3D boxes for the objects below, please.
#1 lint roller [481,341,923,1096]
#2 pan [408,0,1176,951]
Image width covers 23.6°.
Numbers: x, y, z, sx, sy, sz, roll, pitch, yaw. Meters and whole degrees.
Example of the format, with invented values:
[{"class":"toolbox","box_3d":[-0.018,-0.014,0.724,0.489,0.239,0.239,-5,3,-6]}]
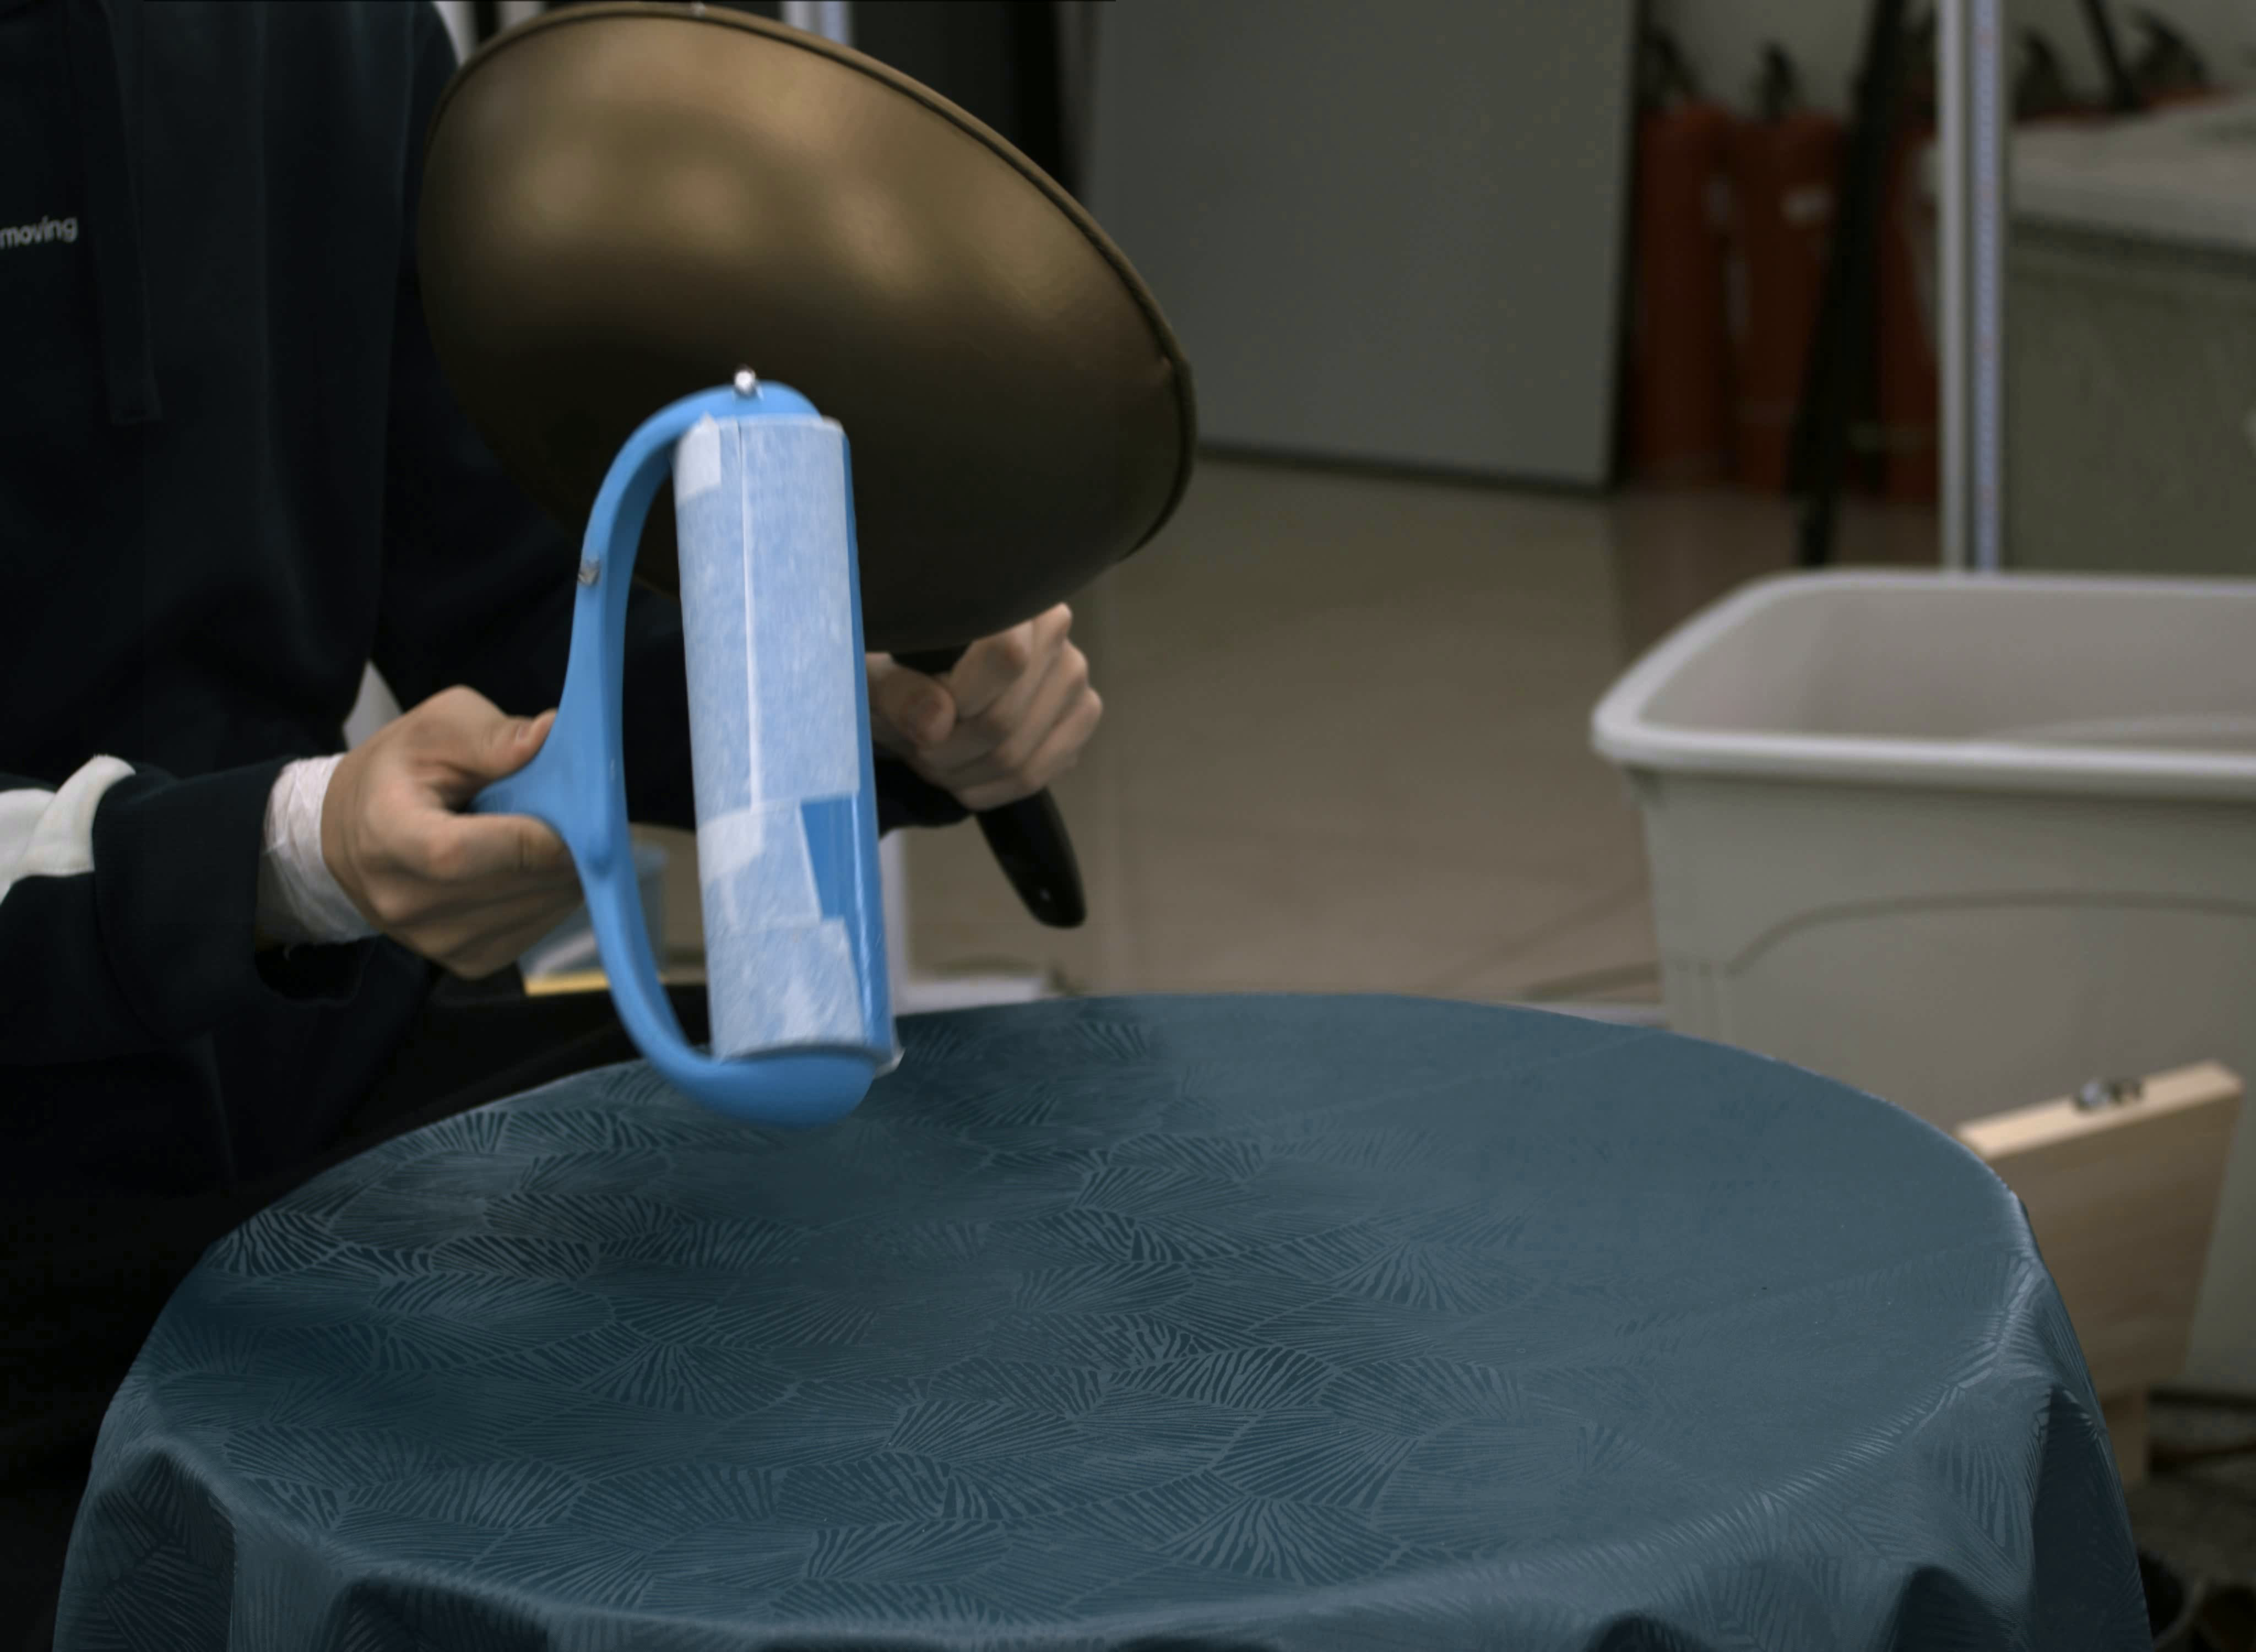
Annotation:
[{"class":"lint roller","box_3d":[-0.145,-0.015,1.624,0.181,0.232,0.066,-22,-20,34]},{"class":"pan","box_3d":[-0.101,-0.088,1.842,0.289,0.462,0.087,10,53,29]}]
